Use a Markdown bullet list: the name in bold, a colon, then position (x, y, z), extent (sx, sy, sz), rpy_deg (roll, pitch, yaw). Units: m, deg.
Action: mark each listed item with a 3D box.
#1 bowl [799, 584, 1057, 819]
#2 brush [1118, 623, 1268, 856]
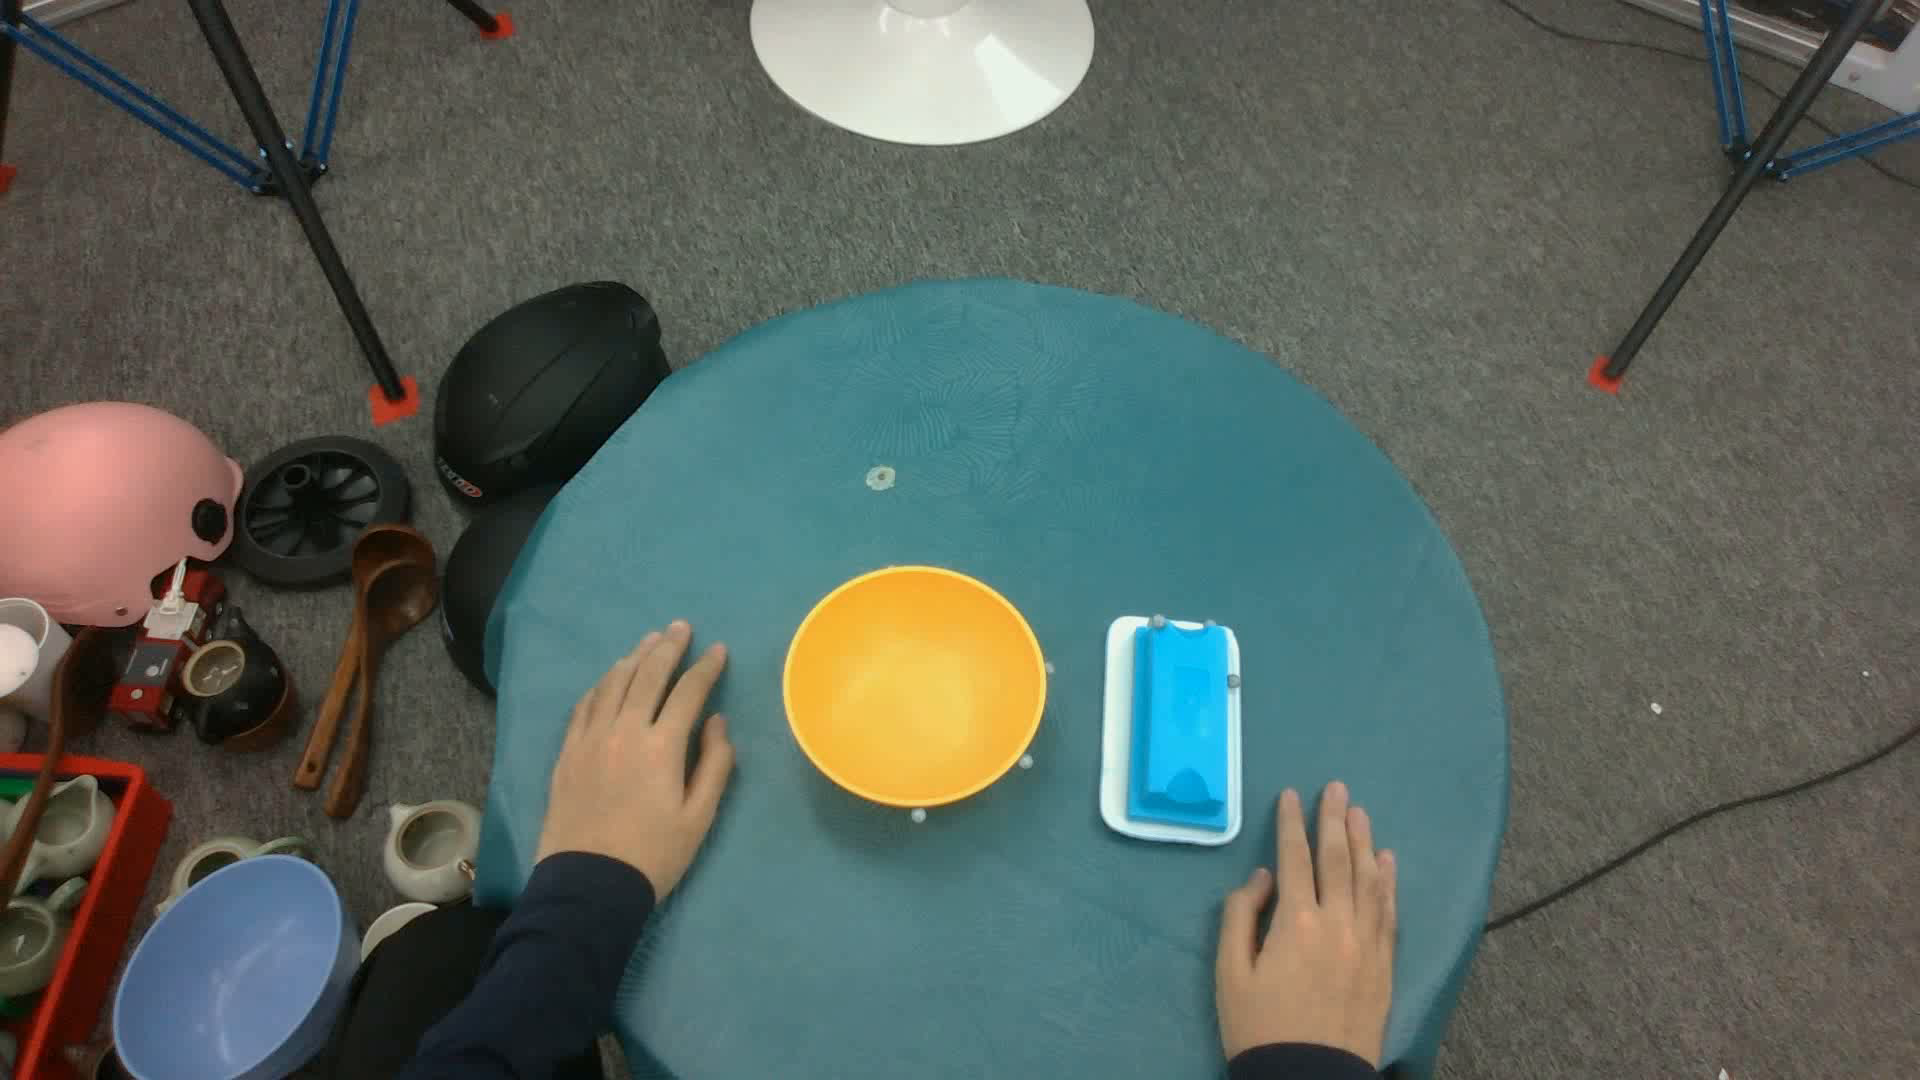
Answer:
- **bowl**: position (-0.018, 0.100, 0.787), extent (0.145, 0.060, 0.146), rpy_deg (1, 55, -1)
- **brush**: position (0.135, 0.106, 0.787), extent (0.084, 0.055, 0.144), rpy_deg (4, 55, 5)
